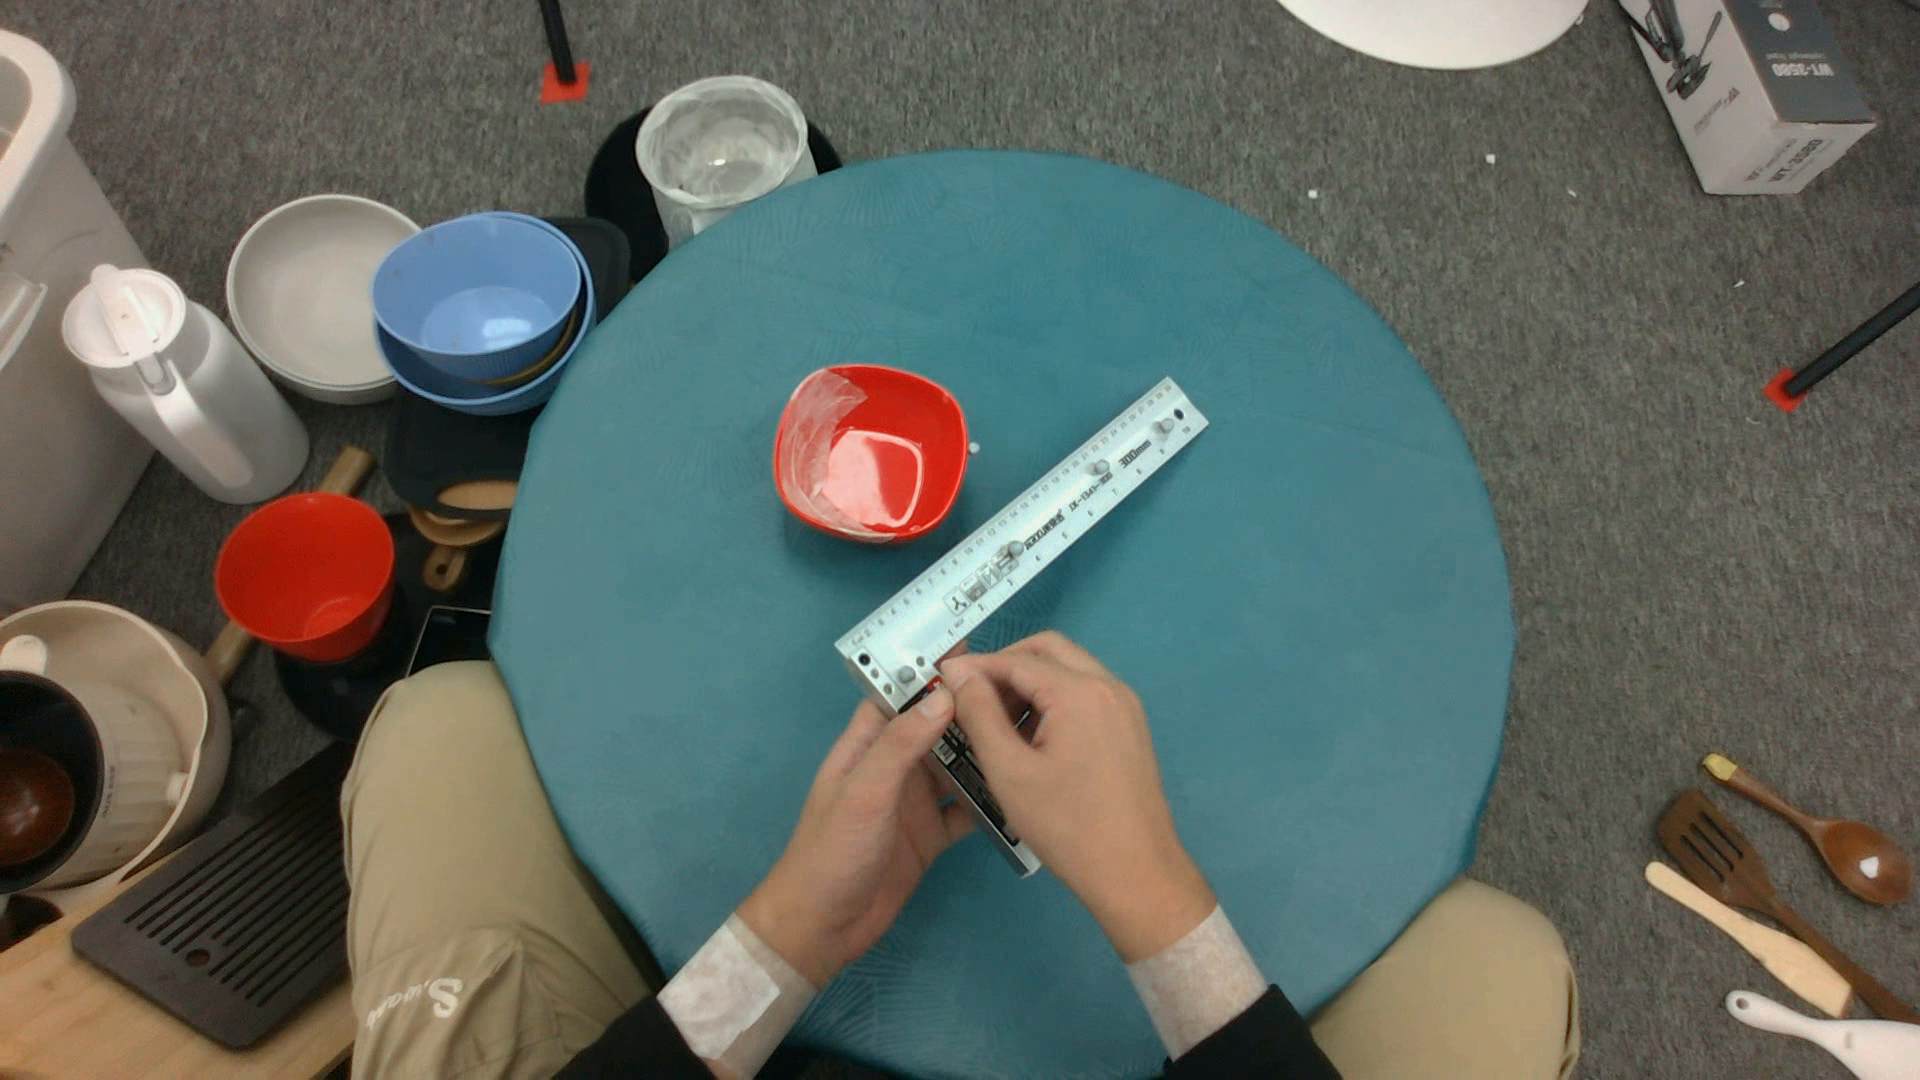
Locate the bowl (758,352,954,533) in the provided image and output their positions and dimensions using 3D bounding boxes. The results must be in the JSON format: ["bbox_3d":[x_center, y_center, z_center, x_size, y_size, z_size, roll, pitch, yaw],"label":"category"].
[{"bbox_3d":[-0.061,-0.049,0.806,0.119,0.051,0.119,3,66,-6],"label":"bowl"}]

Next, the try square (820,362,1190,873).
[{"bbox_3d":[0.070,0.027,0.773,0.152,0.016,0.314,52,53,-2],"label":"try square"}]
